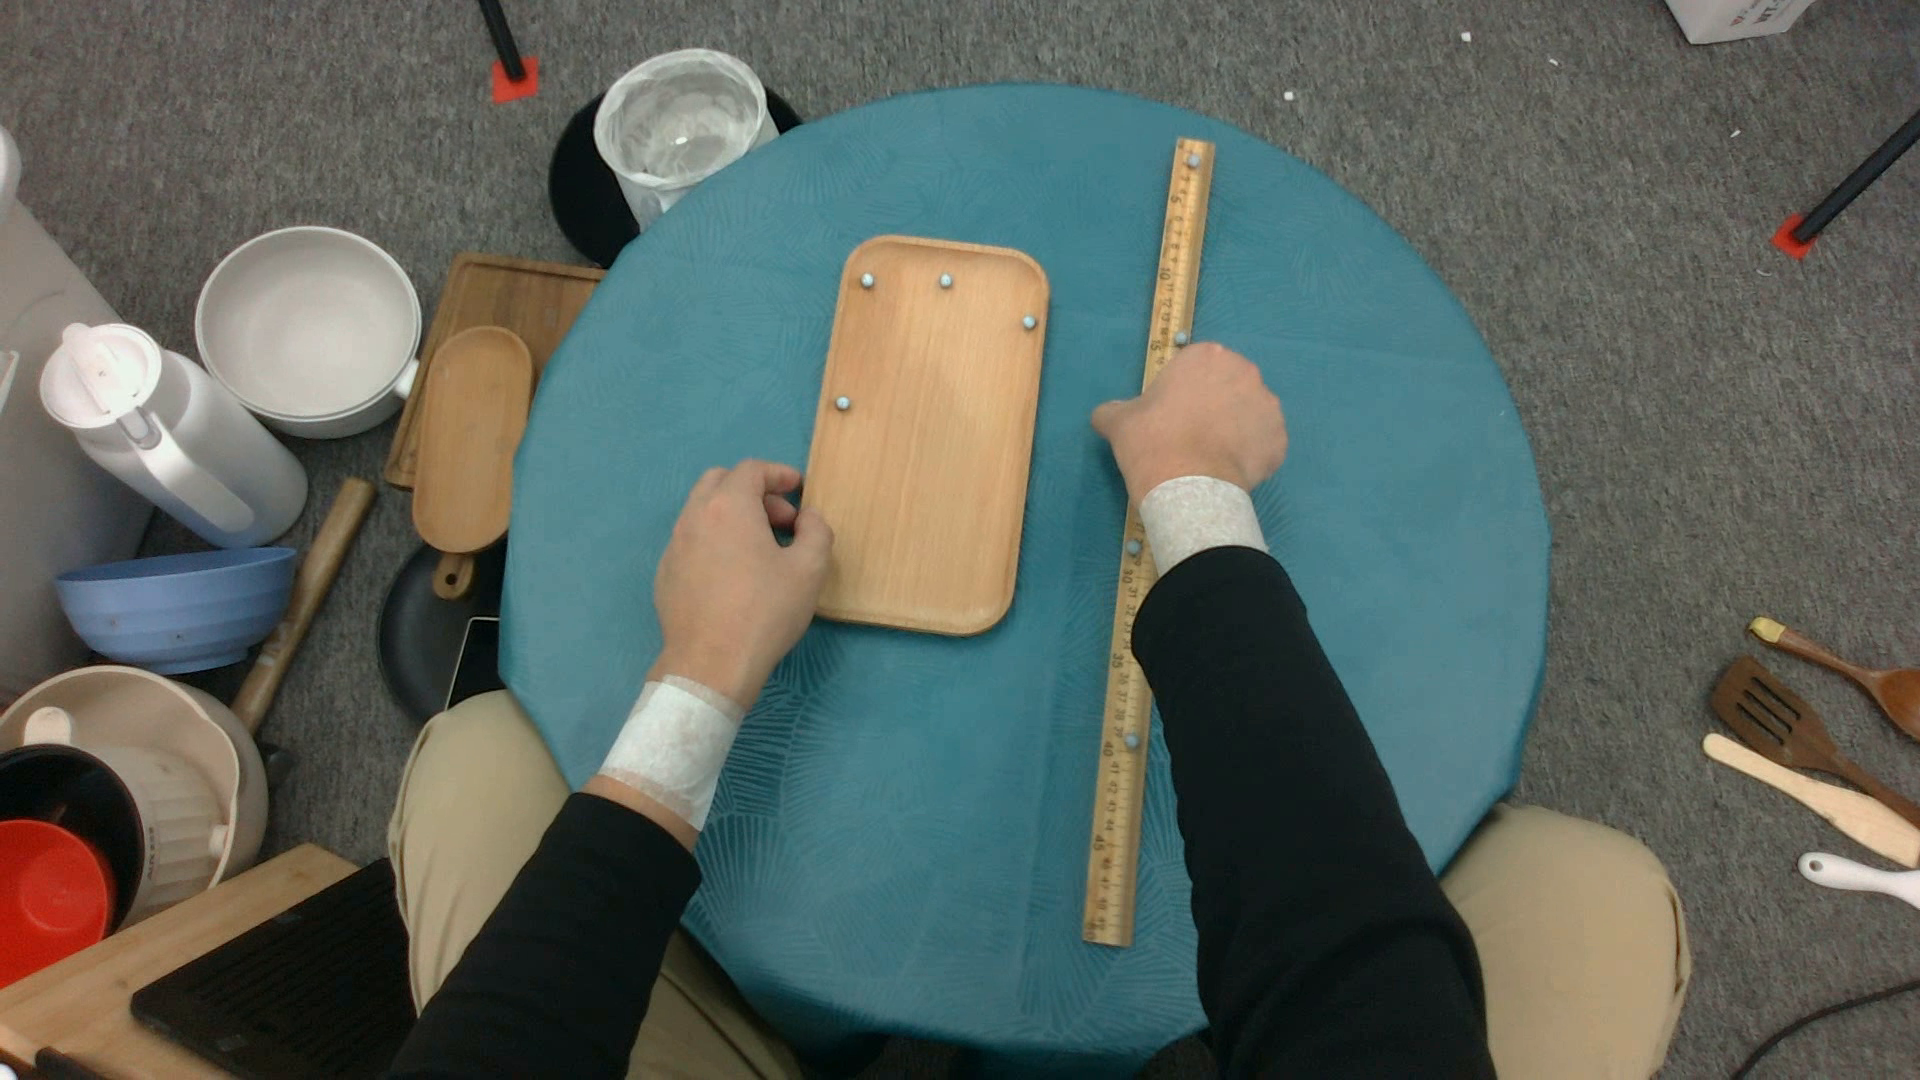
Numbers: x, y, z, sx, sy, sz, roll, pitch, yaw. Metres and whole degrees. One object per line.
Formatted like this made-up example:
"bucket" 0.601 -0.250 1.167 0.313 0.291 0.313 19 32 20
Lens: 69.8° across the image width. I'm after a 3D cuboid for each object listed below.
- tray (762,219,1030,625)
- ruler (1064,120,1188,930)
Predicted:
"tray" -0.034 -0.073 0.803 0.130 0.023 0.251 7 70 3
"ruler" 0.099 -0.034 0.793 0.027 0.006 0.502 8 70 0
